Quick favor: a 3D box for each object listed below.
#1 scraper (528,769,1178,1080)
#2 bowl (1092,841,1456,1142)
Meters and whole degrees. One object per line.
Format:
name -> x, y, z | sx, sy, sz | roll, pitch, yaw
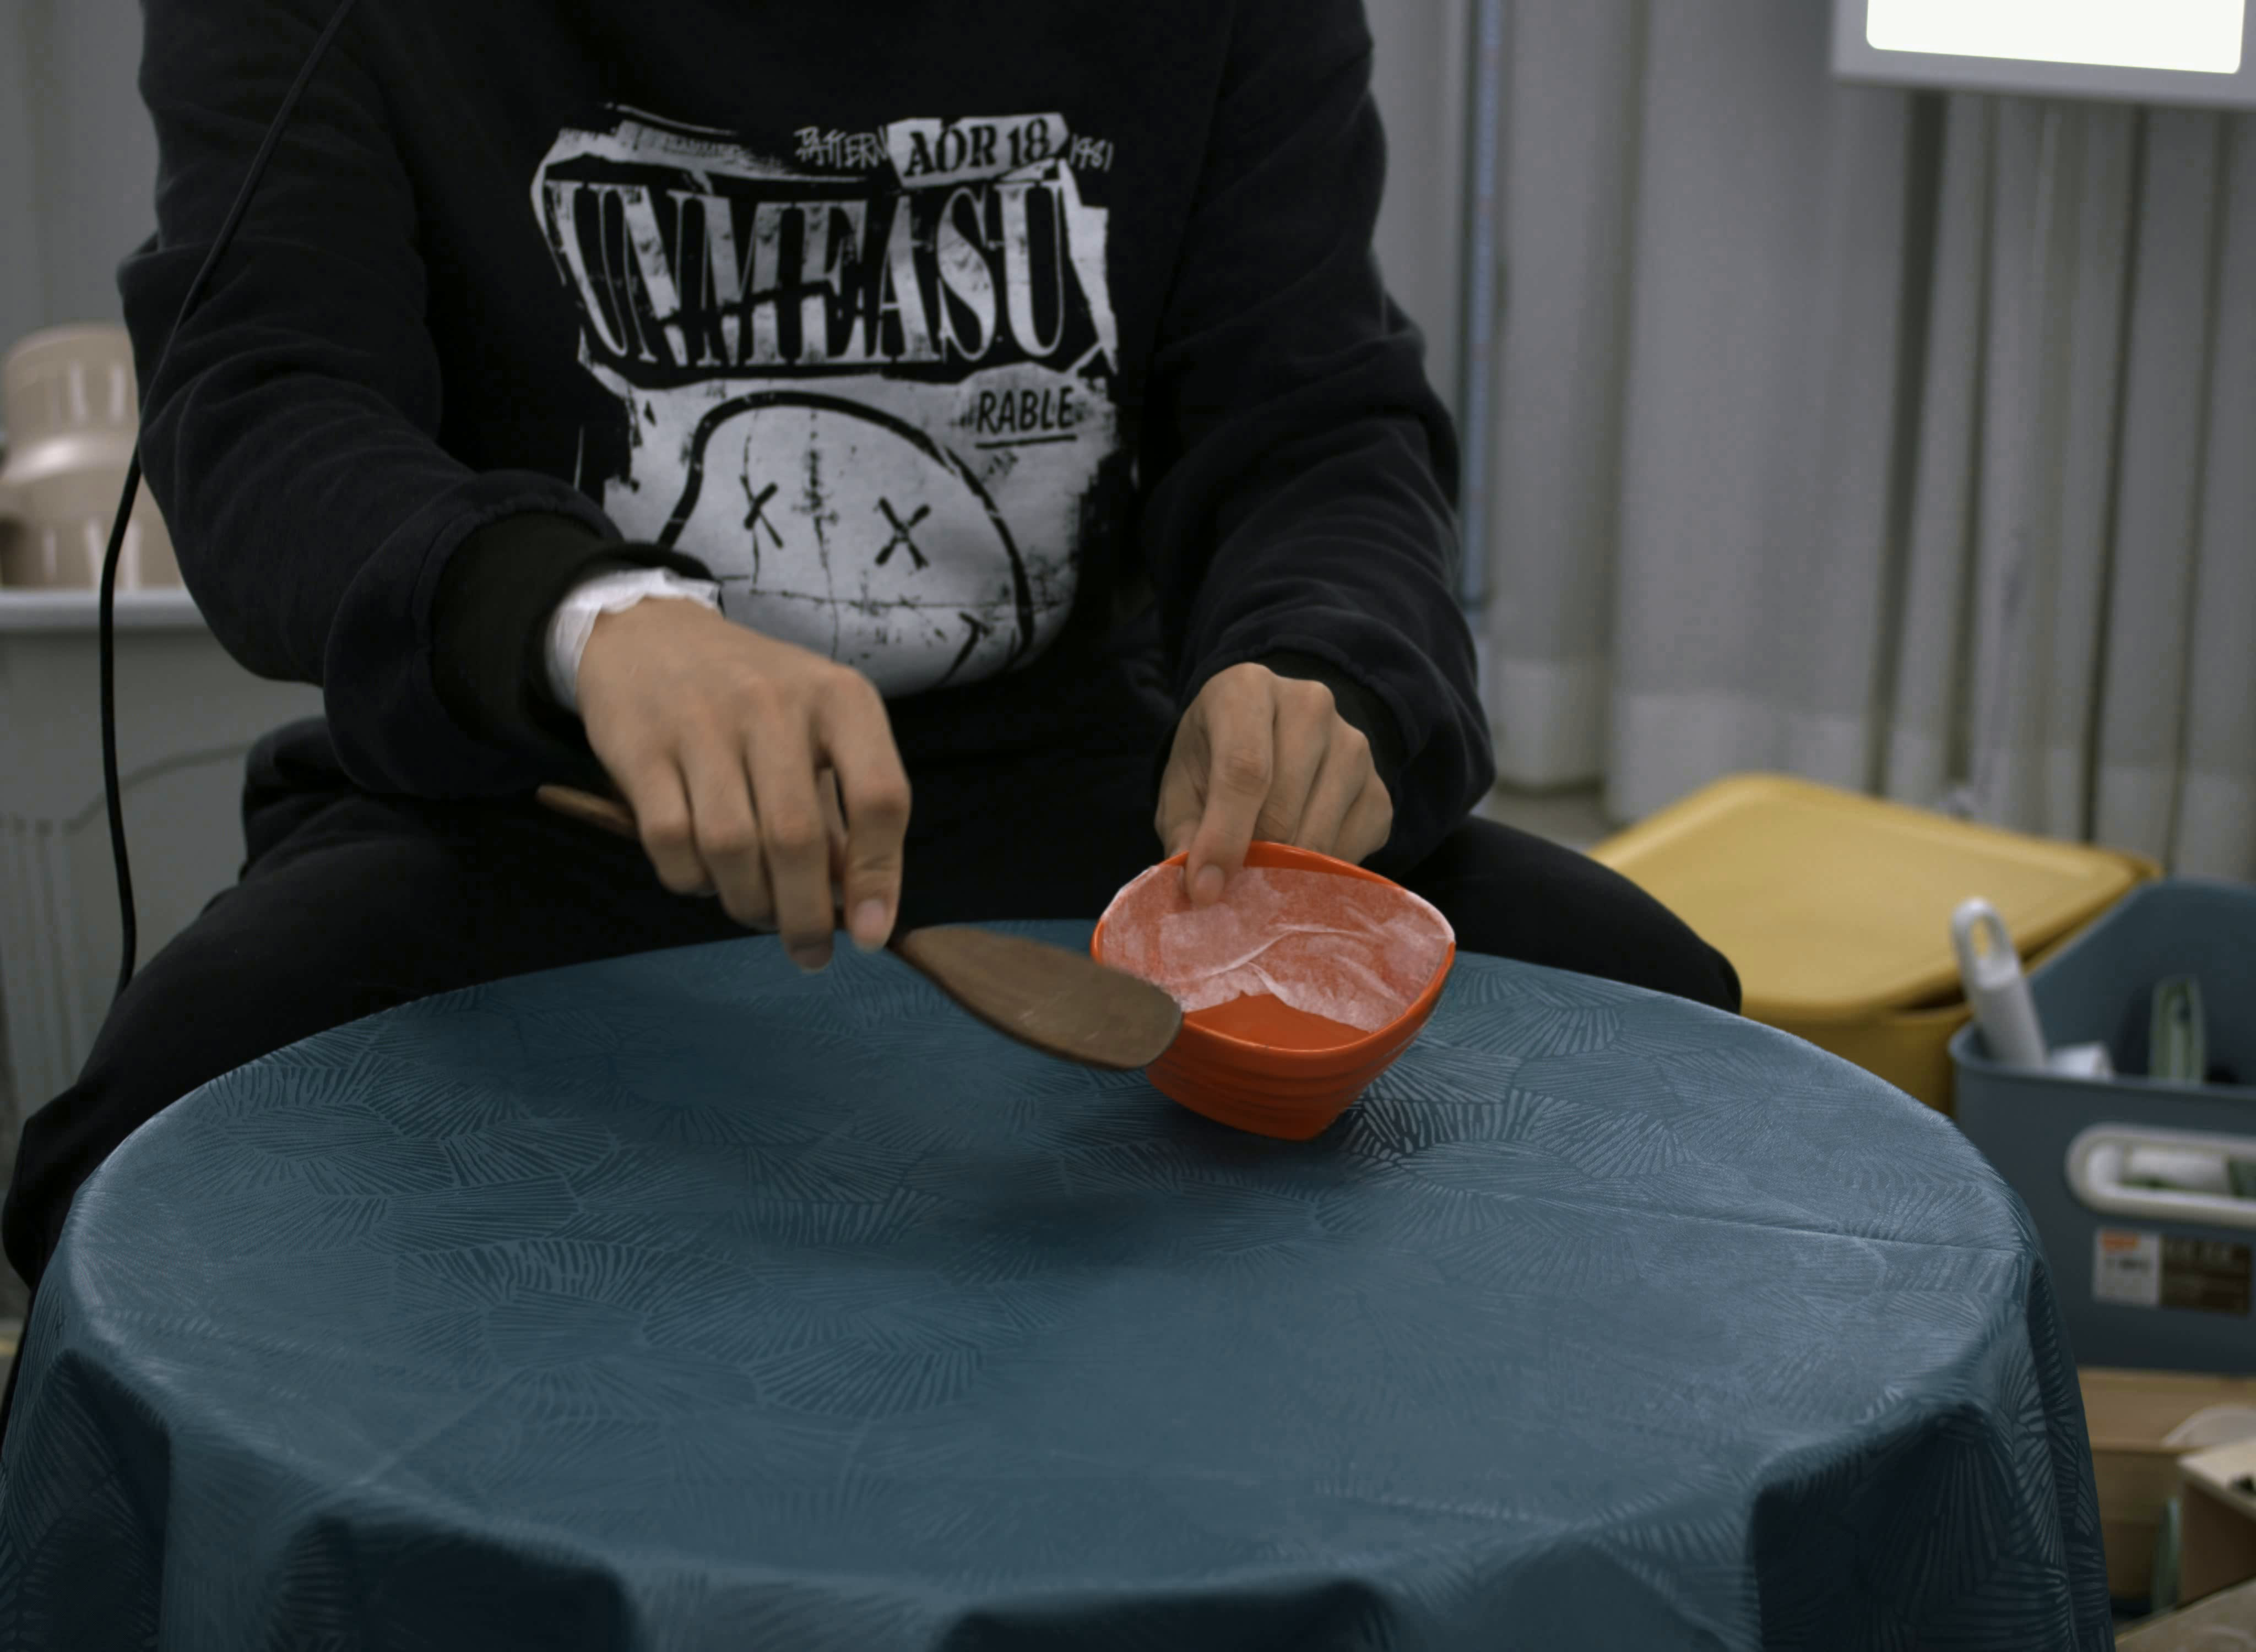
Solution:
scraper -> -0.085, 0.028, 1.598 | 0.210, 0.011, 0.076 | 24, 19, 5
bowl -> 0.045, 0.058, 1.692 | 0.118, 0.052, 0.118 | 4, 35, -2
